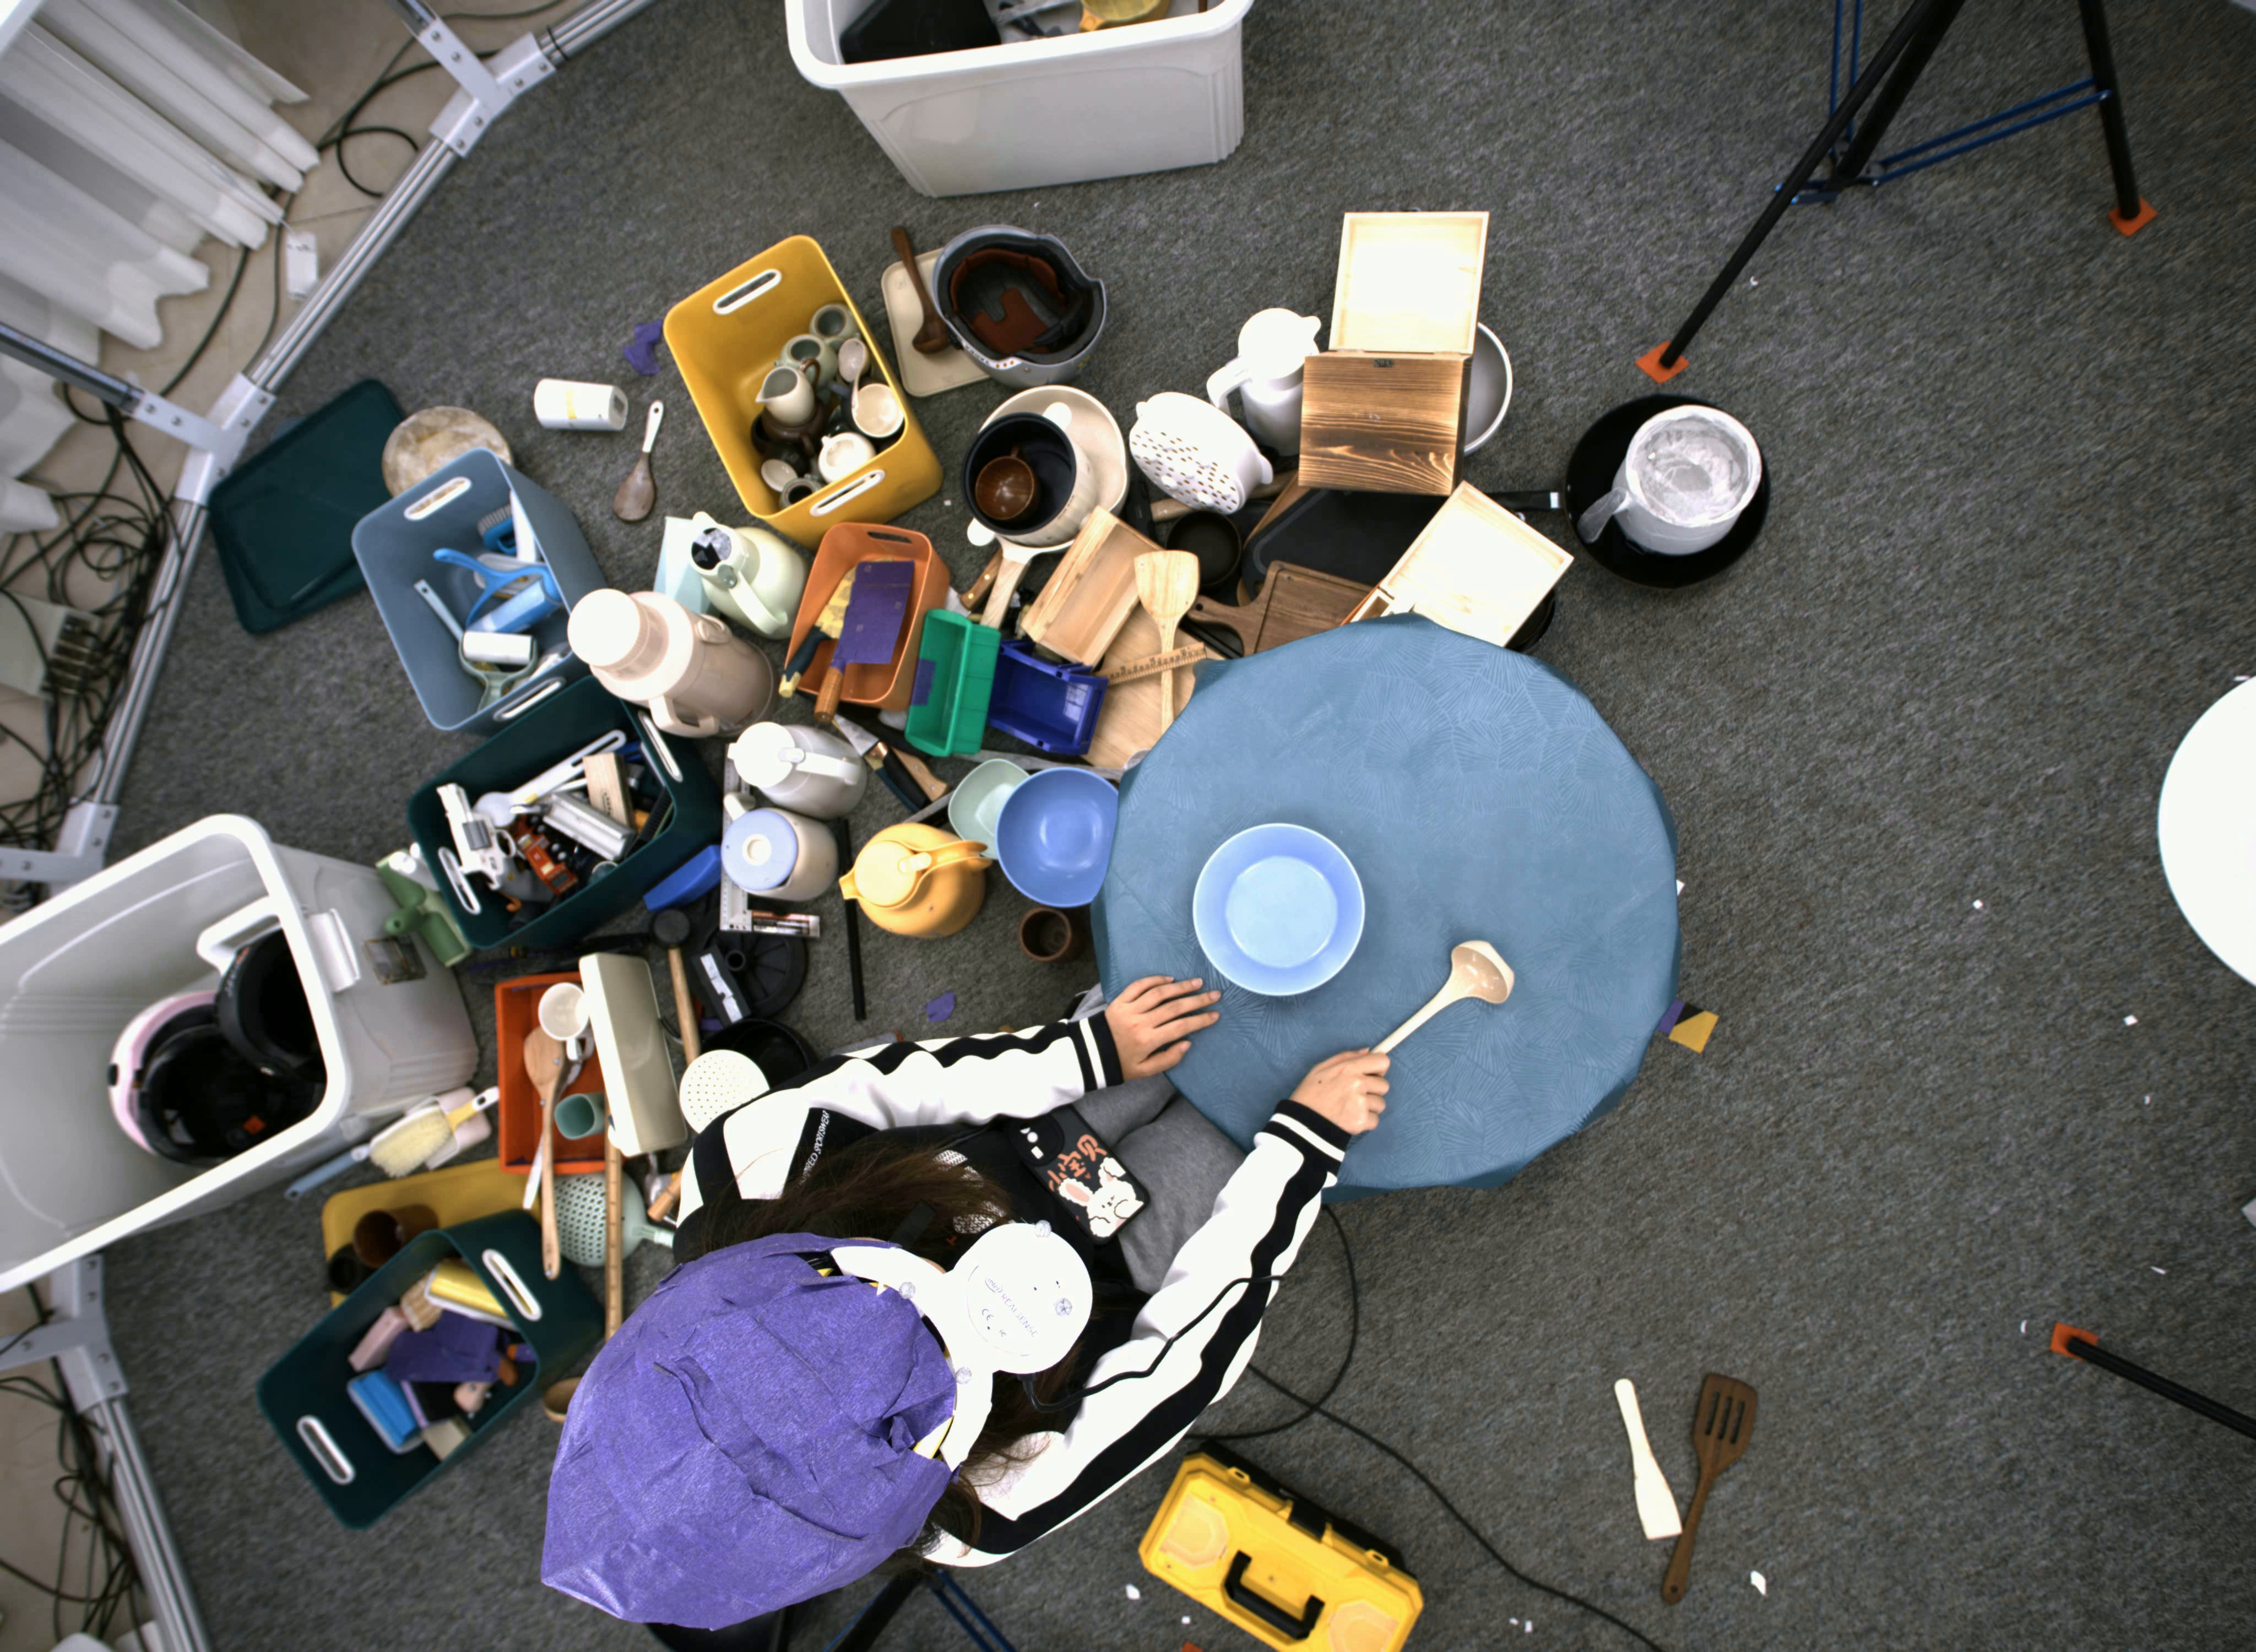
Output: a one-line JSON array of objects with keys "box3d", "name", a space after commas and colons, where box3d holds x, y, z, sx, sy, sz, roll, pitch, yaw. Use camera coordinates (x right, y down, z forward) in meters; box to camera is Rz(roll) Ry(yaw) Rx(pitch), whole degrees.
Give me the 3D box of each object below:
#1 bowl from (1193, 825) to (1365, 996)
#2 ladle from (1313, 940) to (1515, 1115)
[{"box3d": [0.159, 0.089, 1.445, 0.177, 0.070, 0.175, -1, 85, 11], "name": "bowl"}, {"box3d": [0.286, 0.214, 1.413, 0.256, 0.072, 0.072, -42, 84, 6], "name": "ladle"}]
